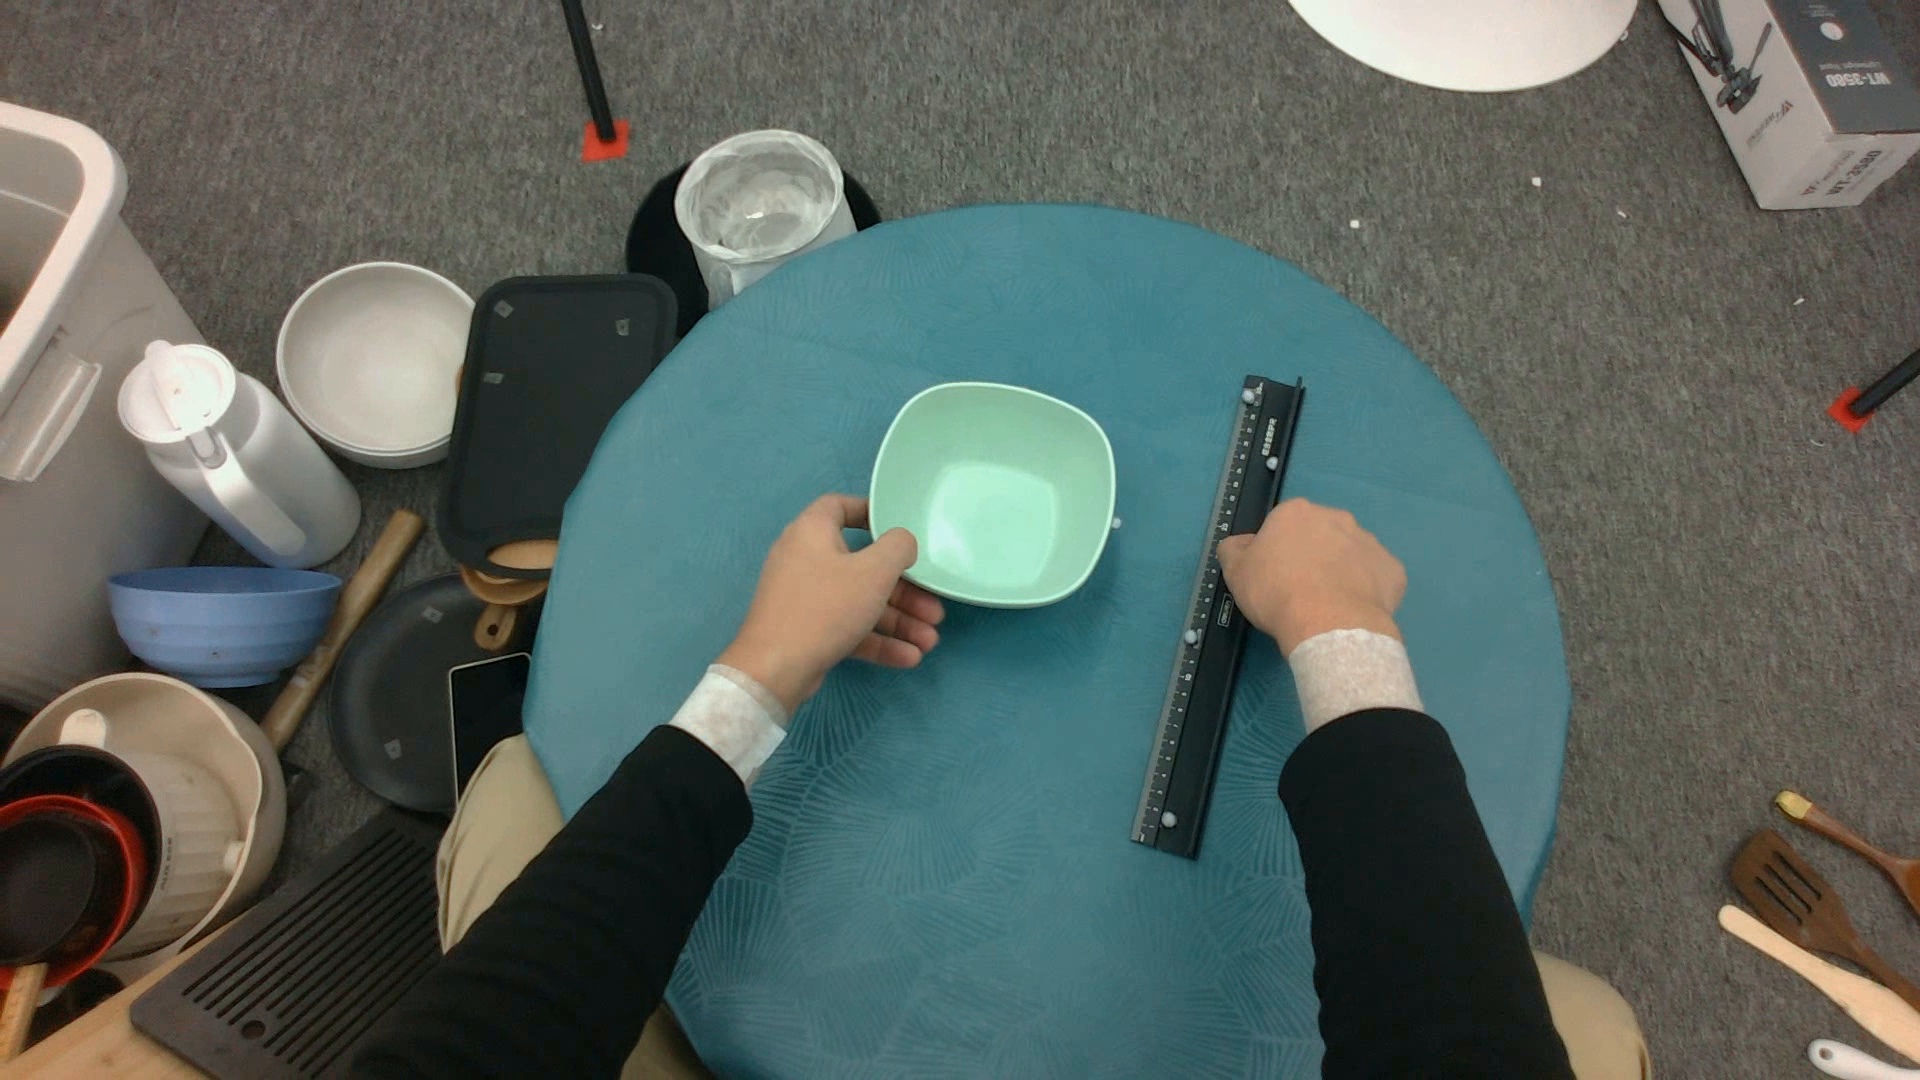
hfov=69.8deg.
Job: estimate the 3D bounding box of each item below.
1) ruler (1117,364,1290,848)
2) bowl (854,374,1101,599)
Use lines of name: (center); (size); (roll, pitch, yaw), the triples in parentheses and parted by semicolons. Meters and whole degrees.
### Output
ruler: (0.148, 0.025, 0.811); (0.039, 0.017, 0.314); (15, 66, 7)
bowl: (0.009, -0.022, 0.804); (0.151, 0.058, 0.152); (2, 64, -3)
